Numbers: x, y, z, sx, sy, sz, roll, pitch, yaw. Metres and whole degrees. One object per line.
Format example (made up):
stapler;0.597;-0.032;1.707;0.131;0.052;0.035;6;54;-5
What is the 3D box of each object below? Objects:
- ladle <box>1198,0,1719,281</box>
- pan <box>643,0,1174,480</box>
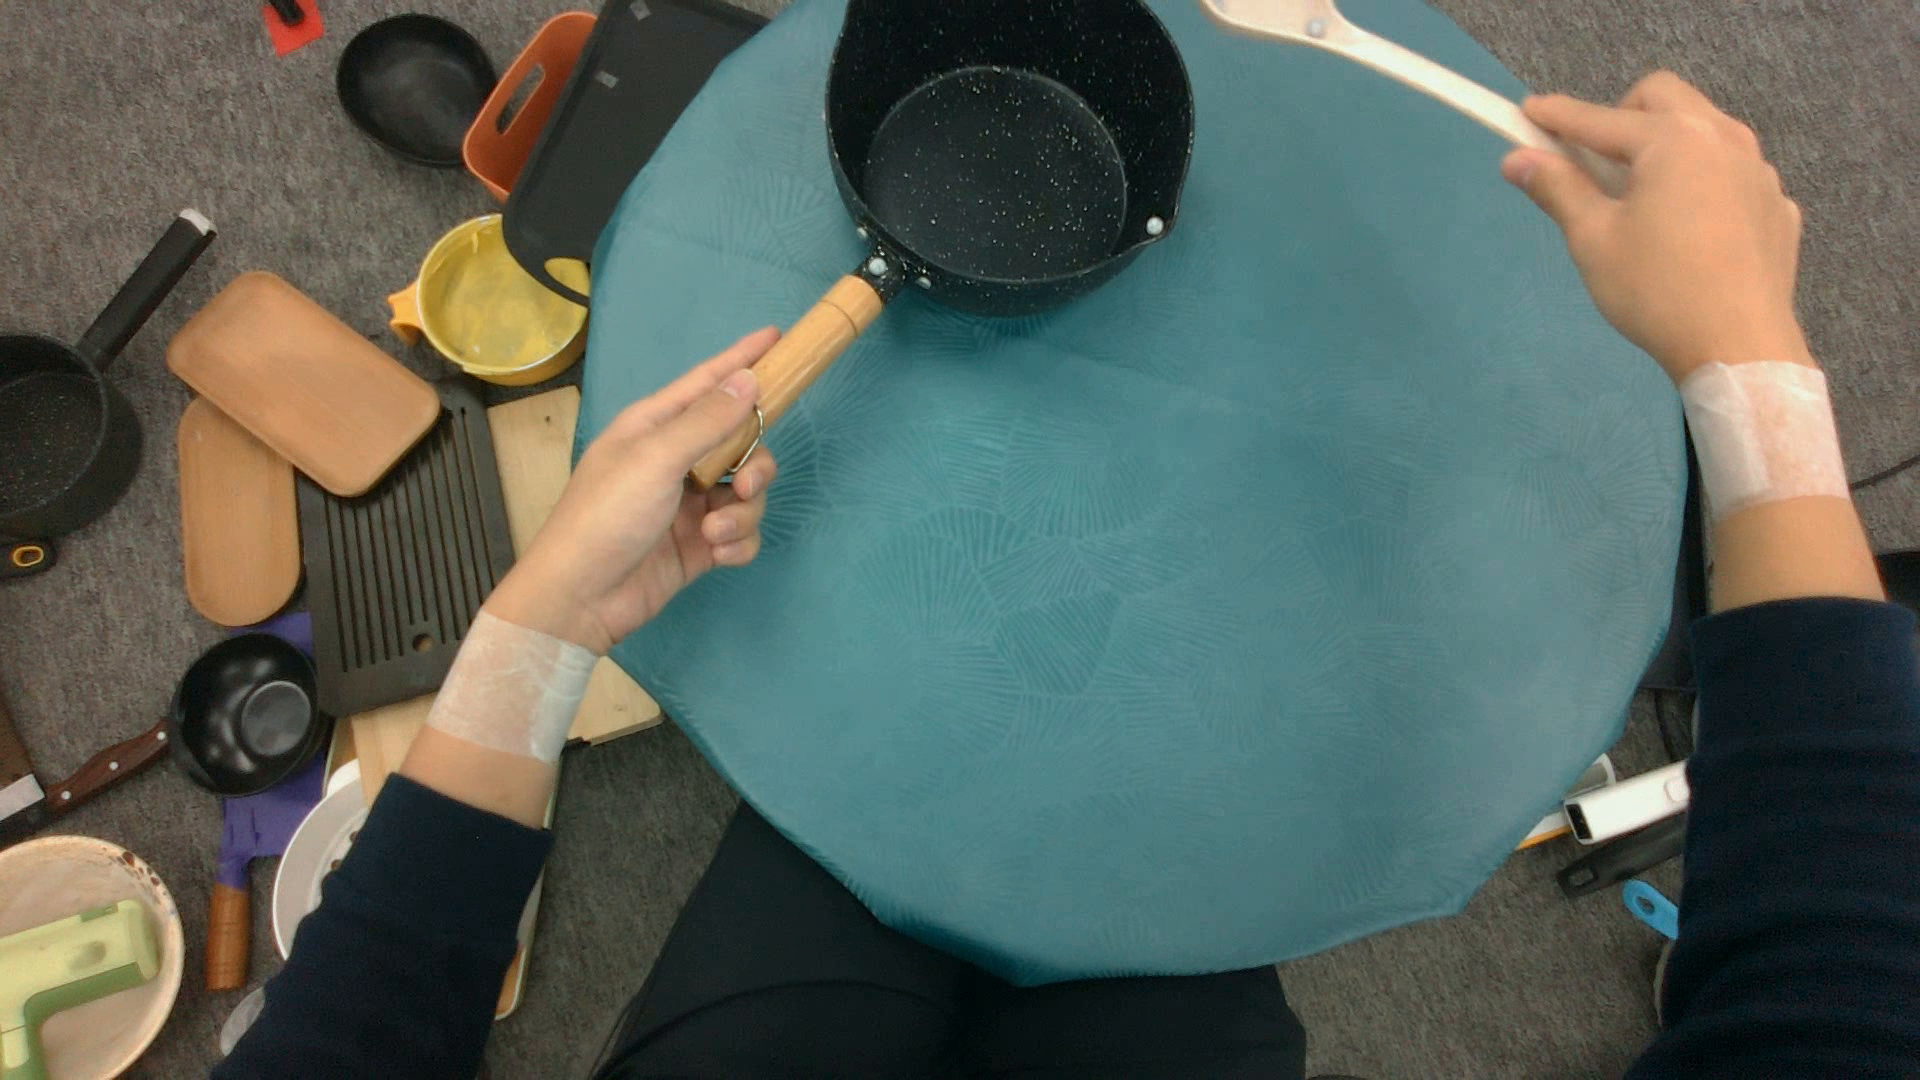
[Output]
ladle;0.222;-0.209;0.609;0.090;0.069;0.275;-35;61;-31
pan;-0.033;-0.150;0.692;0.207;0.108;0.344;36;75;3
